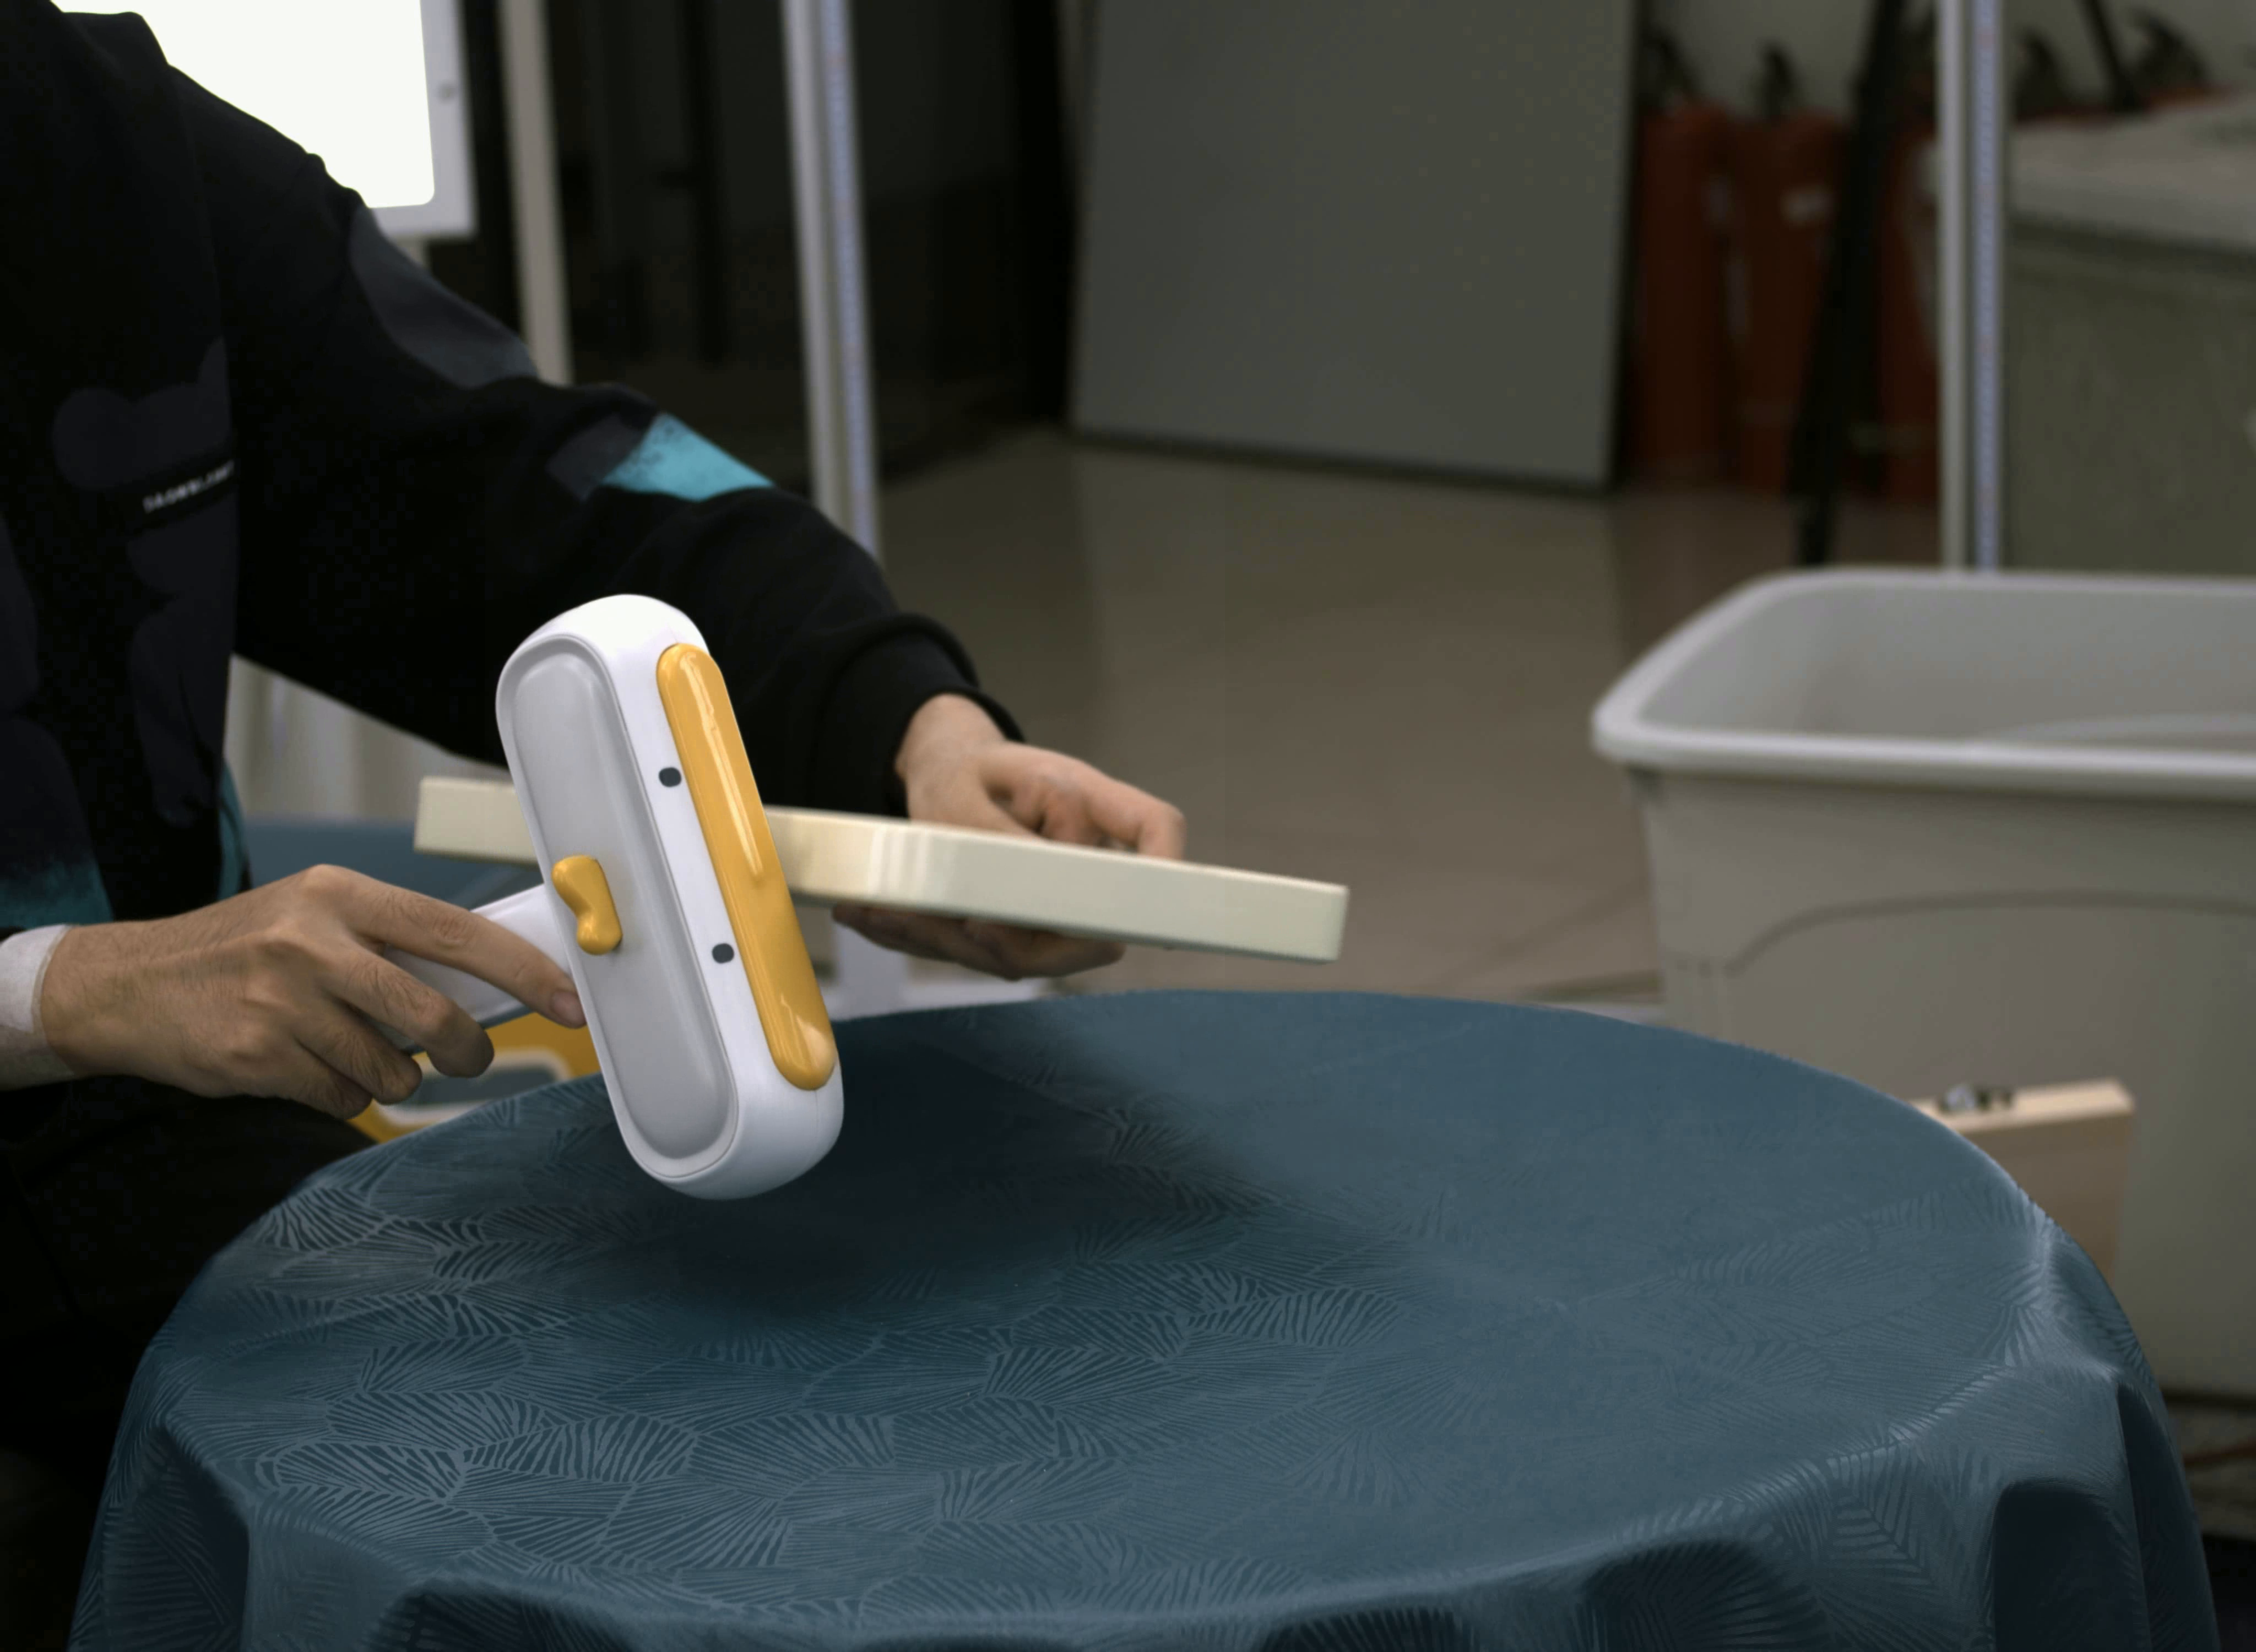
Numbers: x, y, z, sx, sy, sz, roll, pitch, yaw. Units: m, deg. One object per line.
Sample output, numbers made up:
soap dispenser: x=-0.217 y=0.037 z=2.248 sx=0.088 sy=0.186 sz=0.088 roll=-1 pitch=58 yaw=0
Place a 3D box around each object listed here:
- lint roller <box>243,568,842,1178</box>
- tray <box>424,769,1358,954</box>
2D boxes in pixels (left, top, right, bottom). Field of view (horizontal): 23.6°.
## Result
lint roller: x=-0.194 y=0.039 z=1.703 sx=0.193 sy=0.195 sz=0.073 roll=-27 pitch=-8 yaw=30
tray: x=-0.084 y=0.012 z=1.799 sx=0.187 sy=0.028 sz=0.303 roll=10 pitch=-4 yaw=-38
